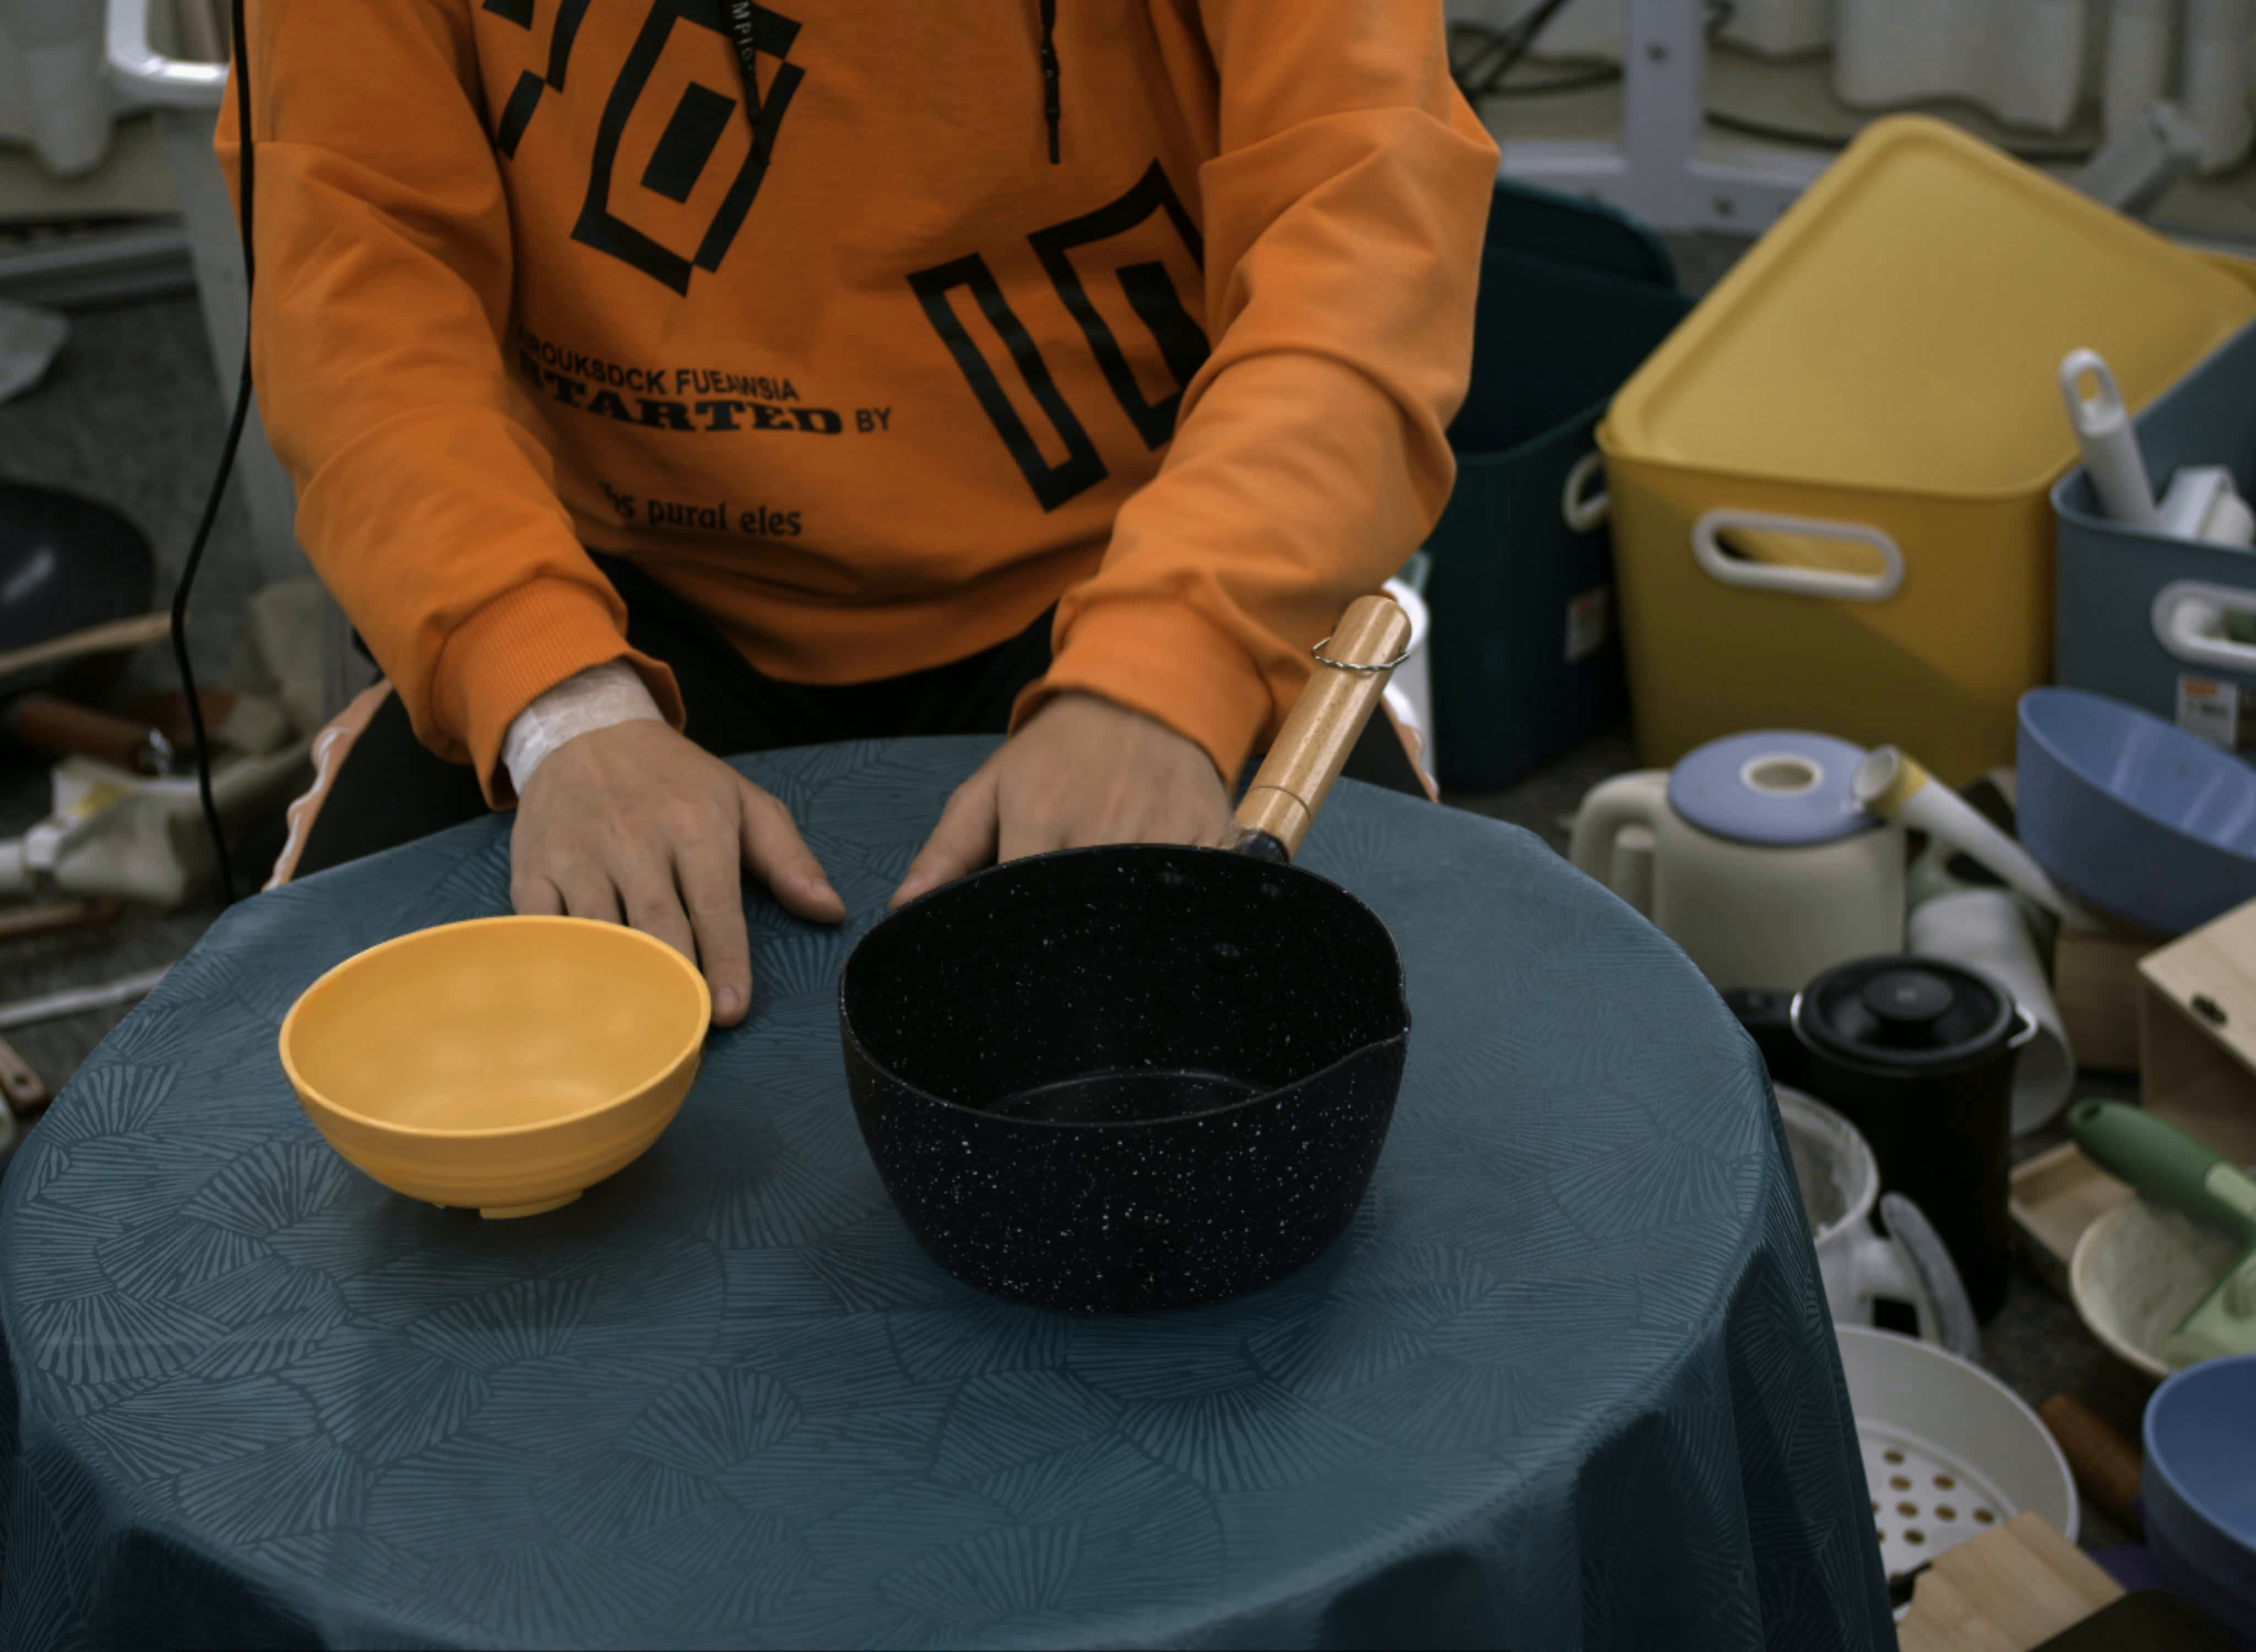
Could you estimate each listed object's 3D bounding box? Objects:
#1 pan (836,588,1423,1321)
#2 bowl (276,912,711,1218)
[{"bbox_3d":[0.028,0.040,1.902,0.206,0.107,0.349,7,30,21],"label":"pan"},{"bbox_3d":[-0.210,0.090,1.881,0.144,0.059,0.147,-1,28,1],"label":"bowl"}]
